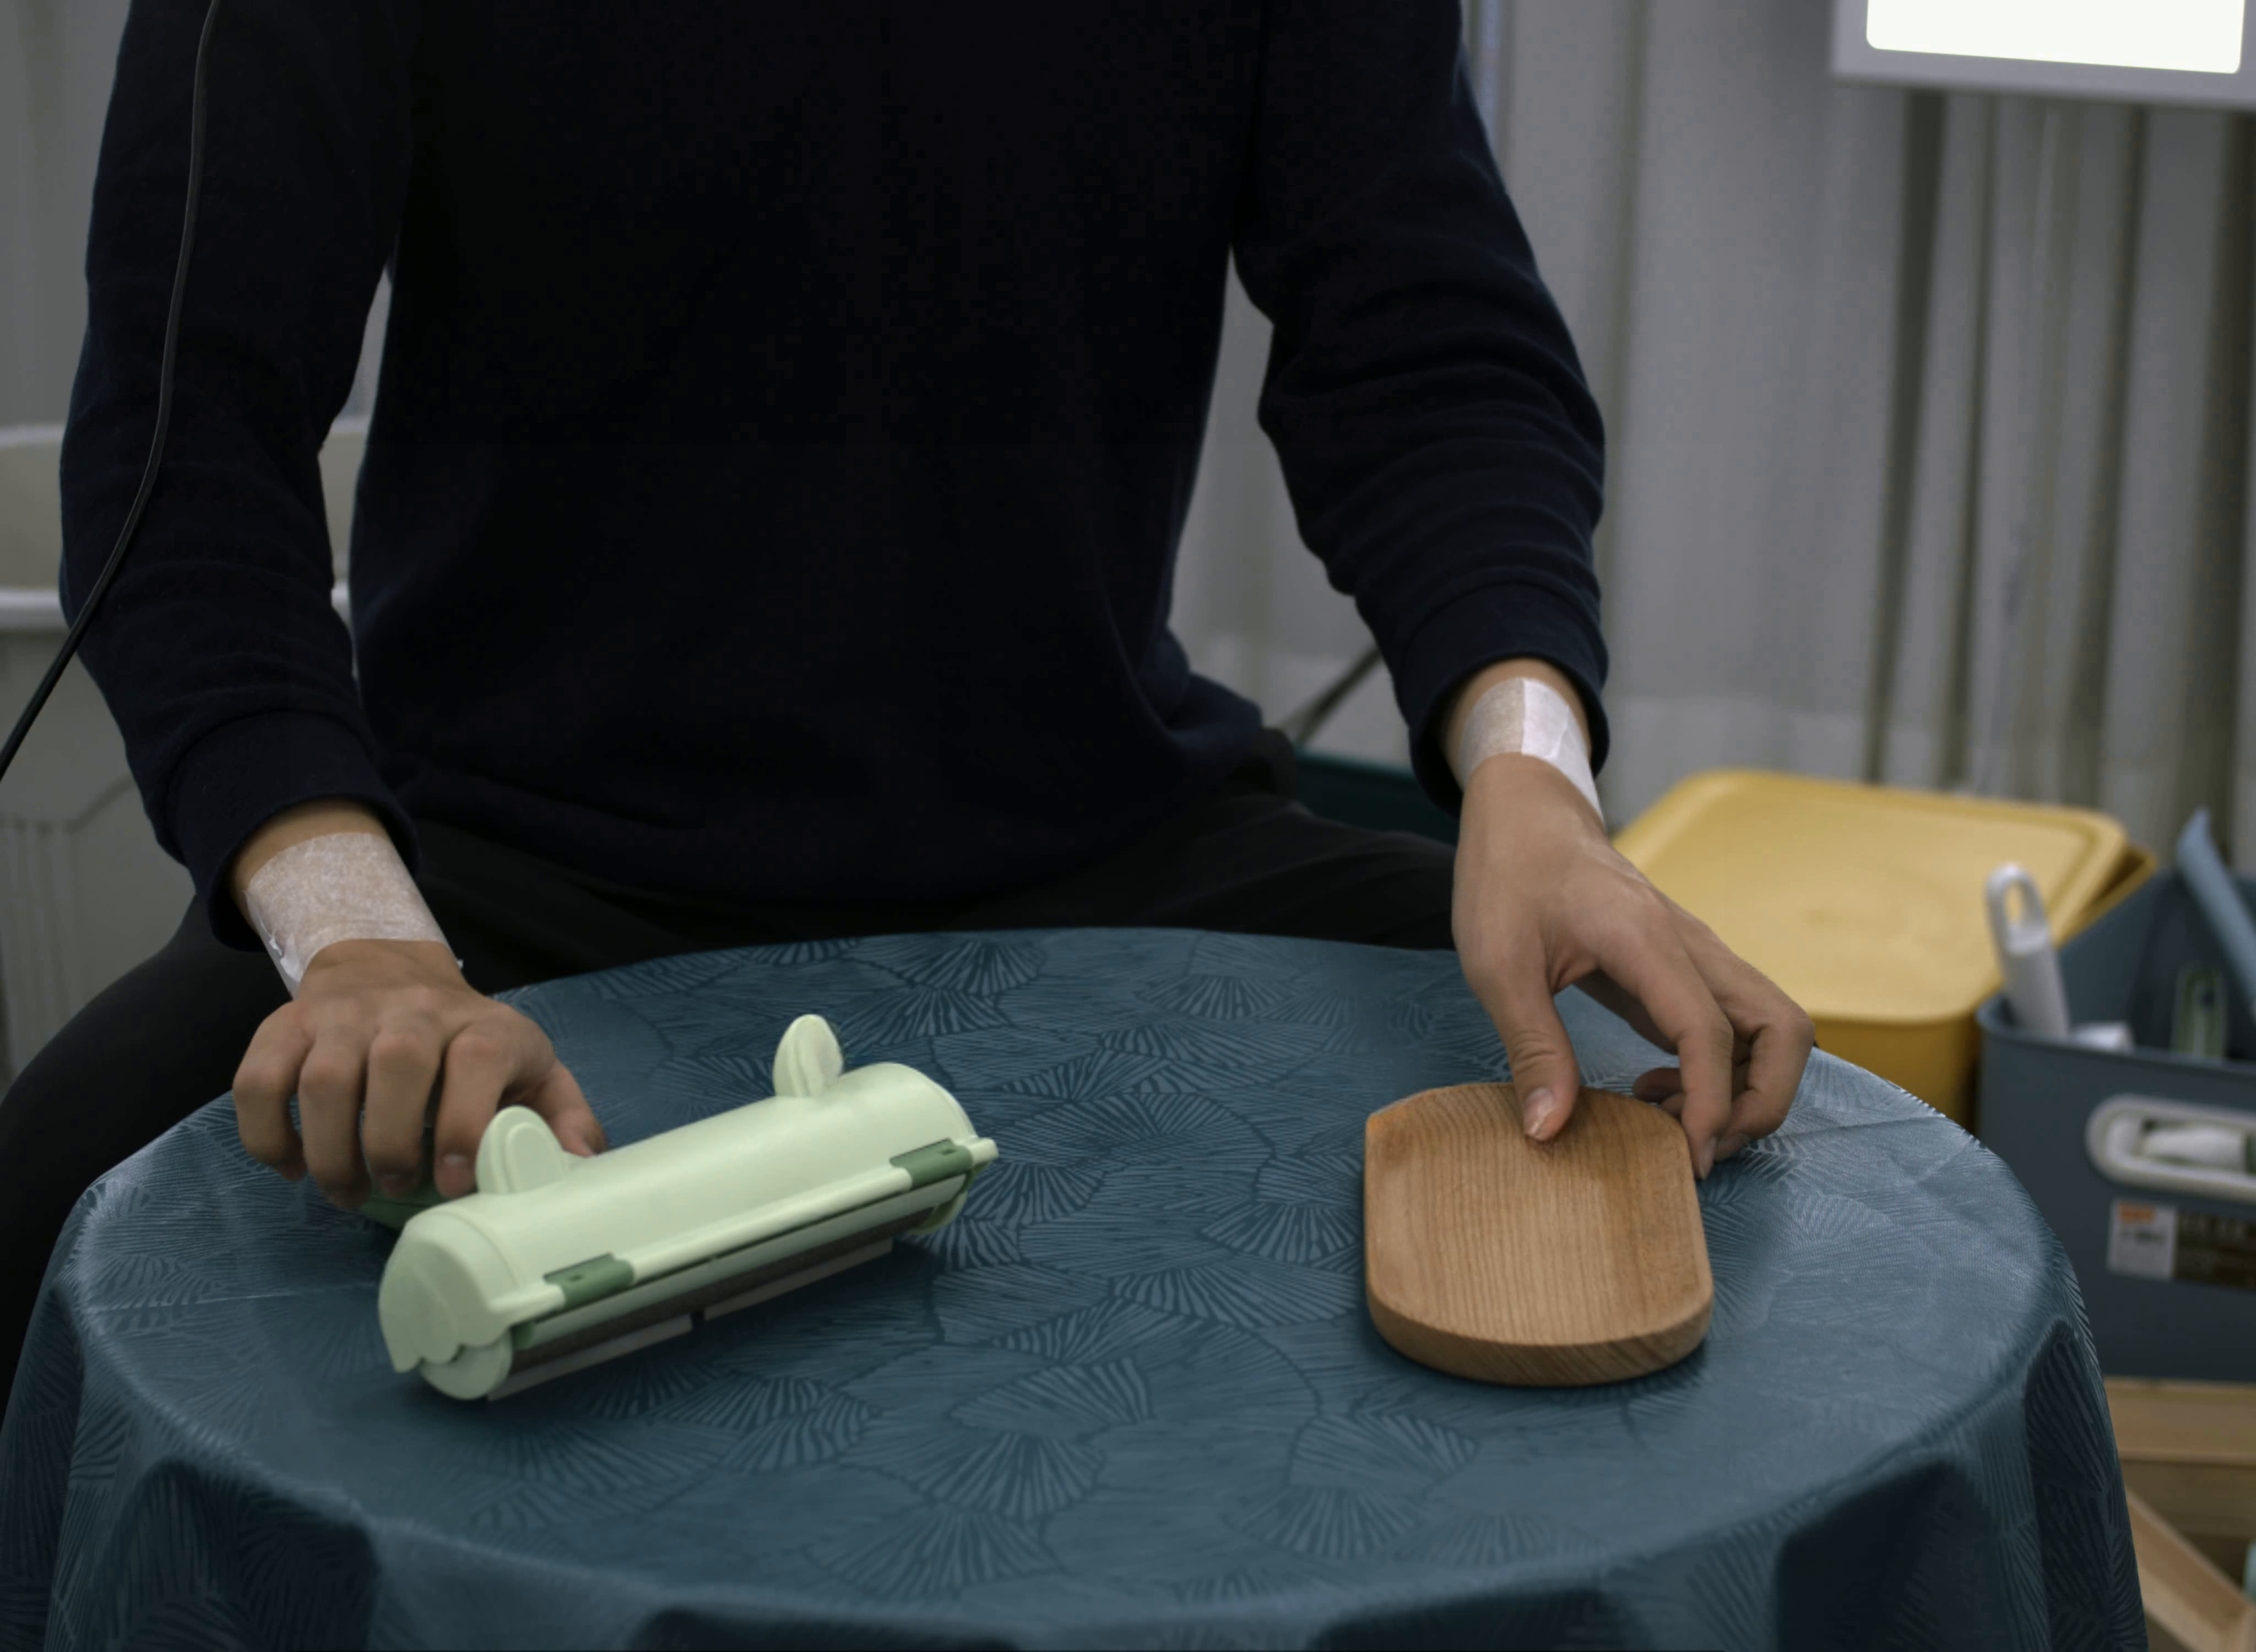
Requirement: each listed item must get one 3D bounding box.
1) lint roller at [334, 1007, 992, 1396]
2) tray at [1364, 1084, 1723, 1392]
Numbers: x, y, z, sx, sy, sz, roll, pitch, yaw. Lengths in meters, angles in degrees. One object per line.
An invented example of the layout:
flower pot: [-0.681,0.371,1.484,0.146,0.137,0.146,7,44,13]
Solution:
lint roller: [-0.168,0.091,1.533,0.181,0.083,0.199,20,24,37]
tray: [0.121,0.120,1.568,0.101,0.020,0.230,0,17,2]
